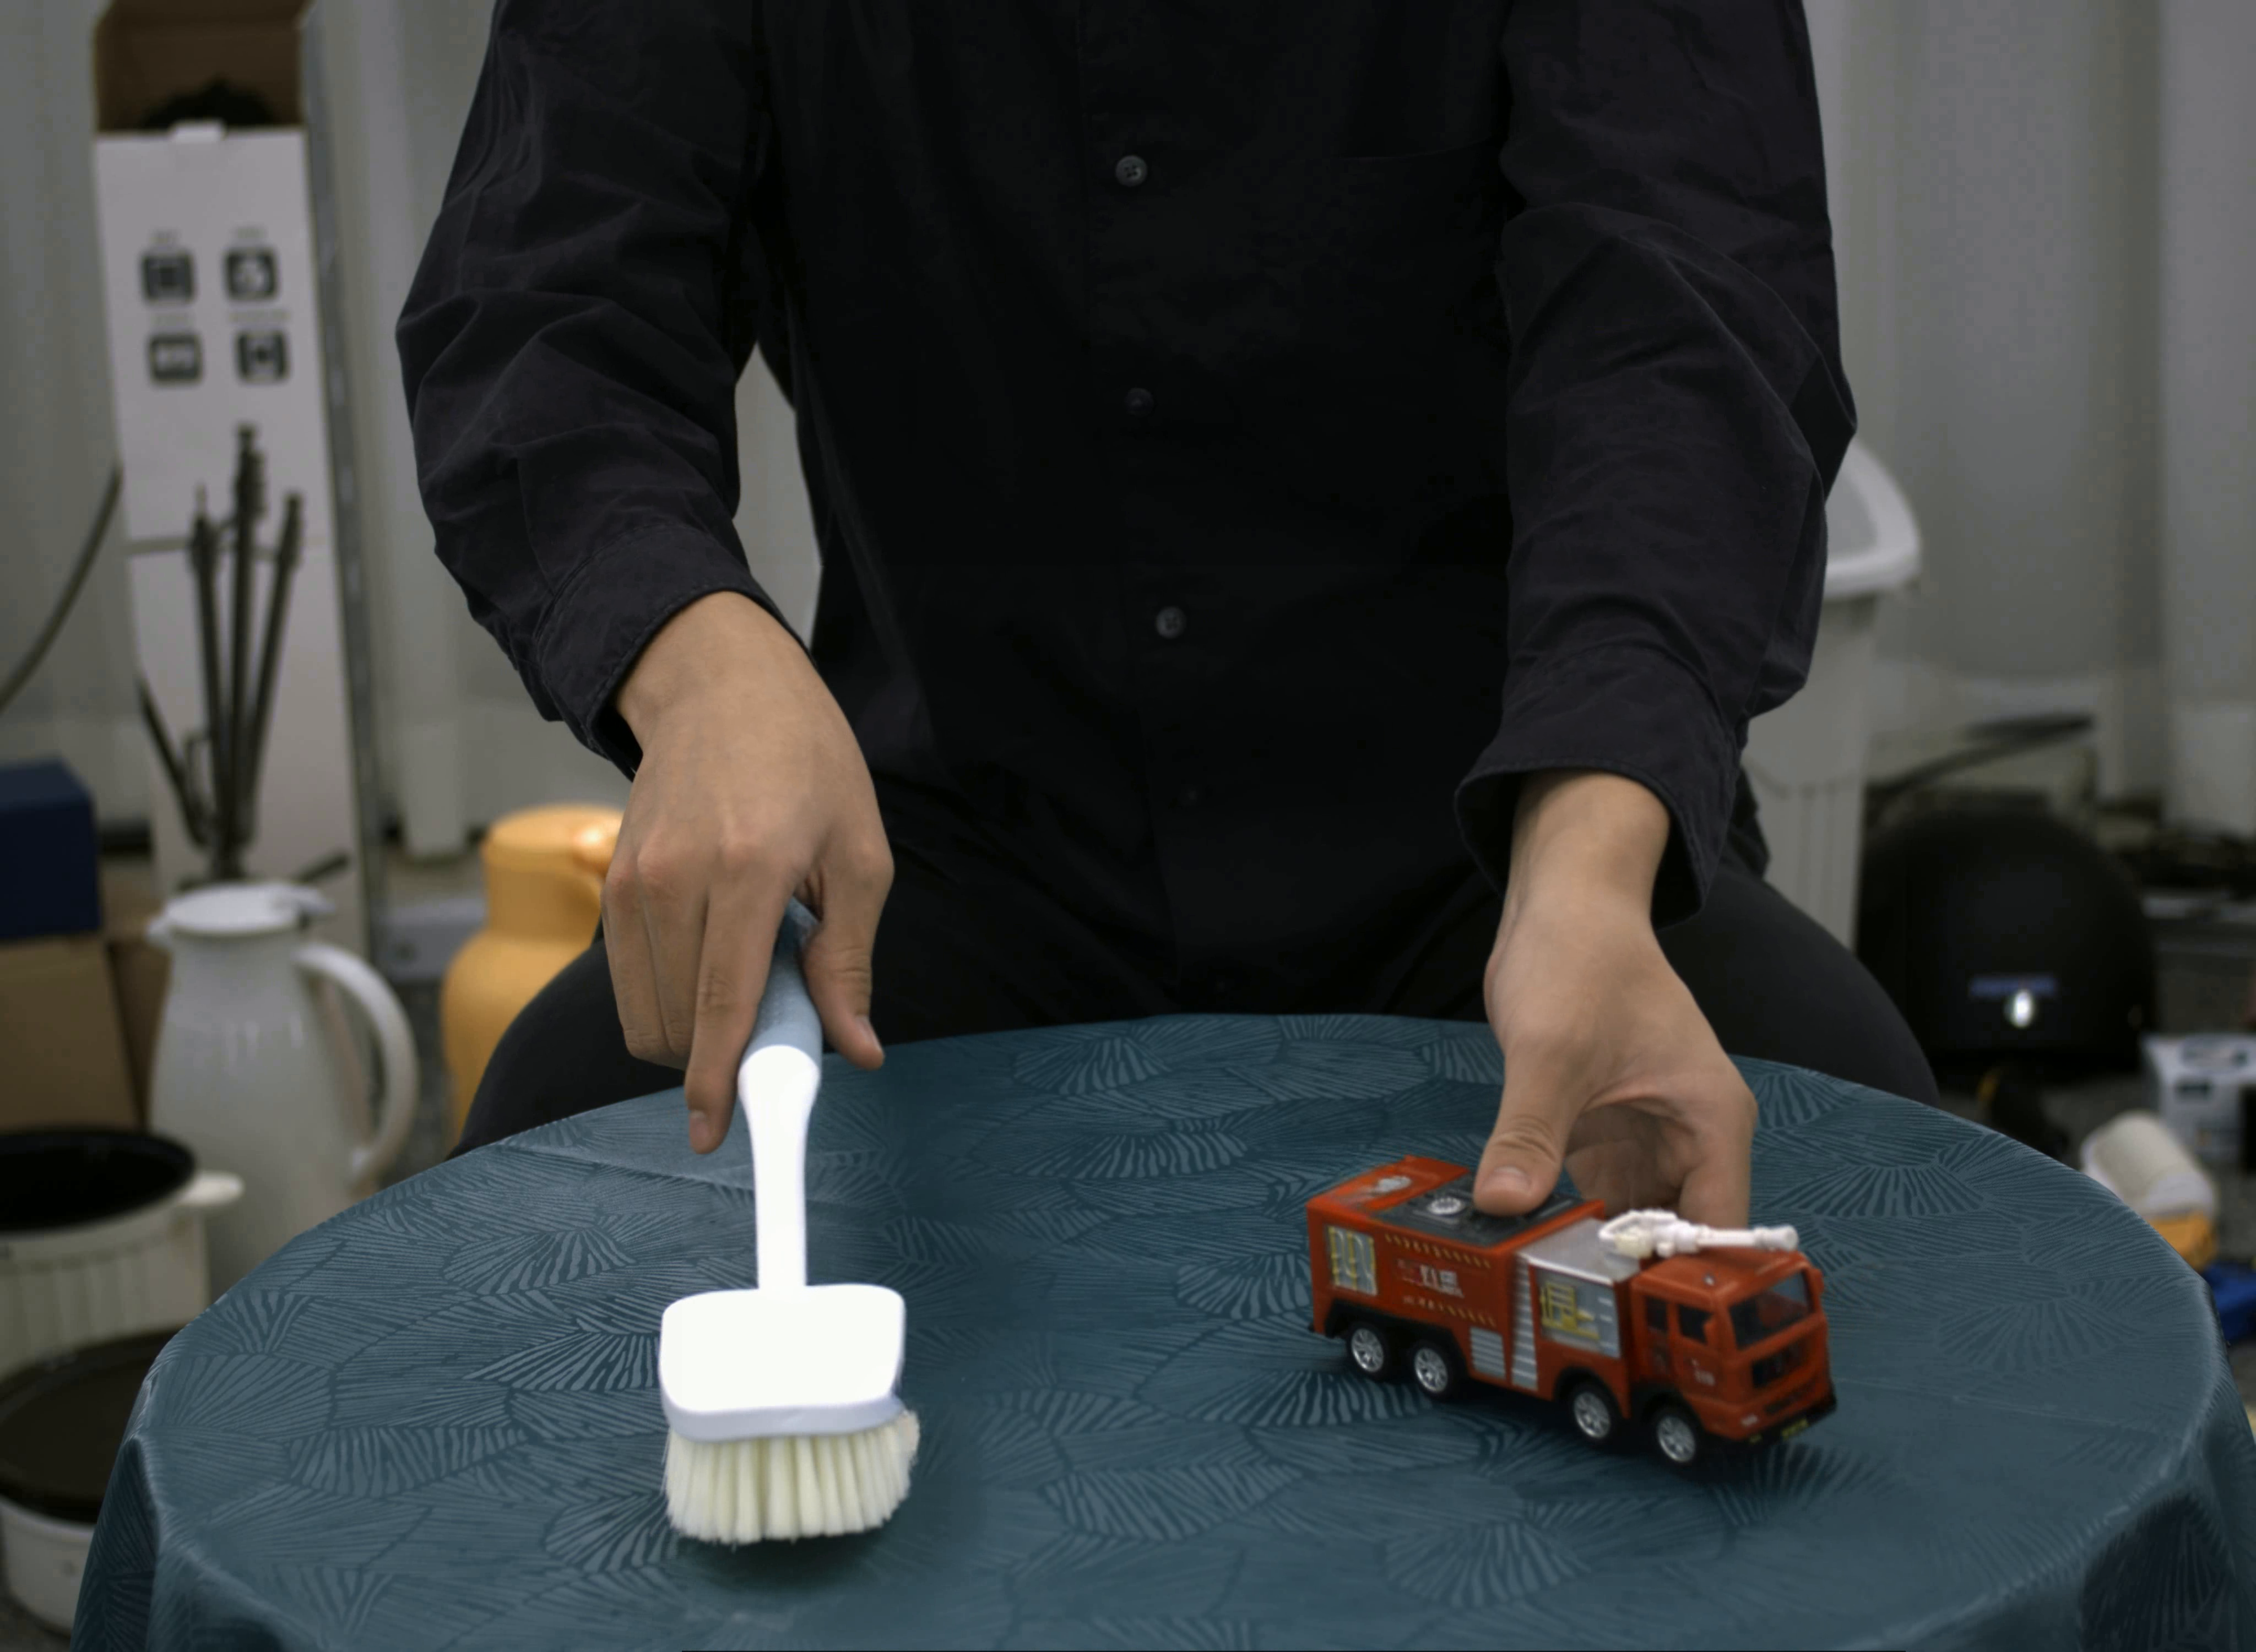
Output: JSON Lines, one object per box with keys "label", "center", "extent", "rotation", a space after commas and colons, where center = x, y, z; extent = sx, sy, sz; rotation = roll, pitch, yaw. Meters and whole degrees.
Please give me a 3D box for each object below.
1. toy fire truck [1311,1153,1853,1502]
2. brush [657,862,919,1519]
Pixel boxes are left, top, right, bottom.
{"label": "toy fire truck", "center": [0.123, 0.134, 1.501], "extent": [0.054, 0.070, 0.169], "rotation": [-19, 19, -41]}
{"label": "brush", "center": [-0.093, 0.117, 1.577], "extent": [0.082, 0.084, 0.329], "rotation": [32, 19, -15]}
